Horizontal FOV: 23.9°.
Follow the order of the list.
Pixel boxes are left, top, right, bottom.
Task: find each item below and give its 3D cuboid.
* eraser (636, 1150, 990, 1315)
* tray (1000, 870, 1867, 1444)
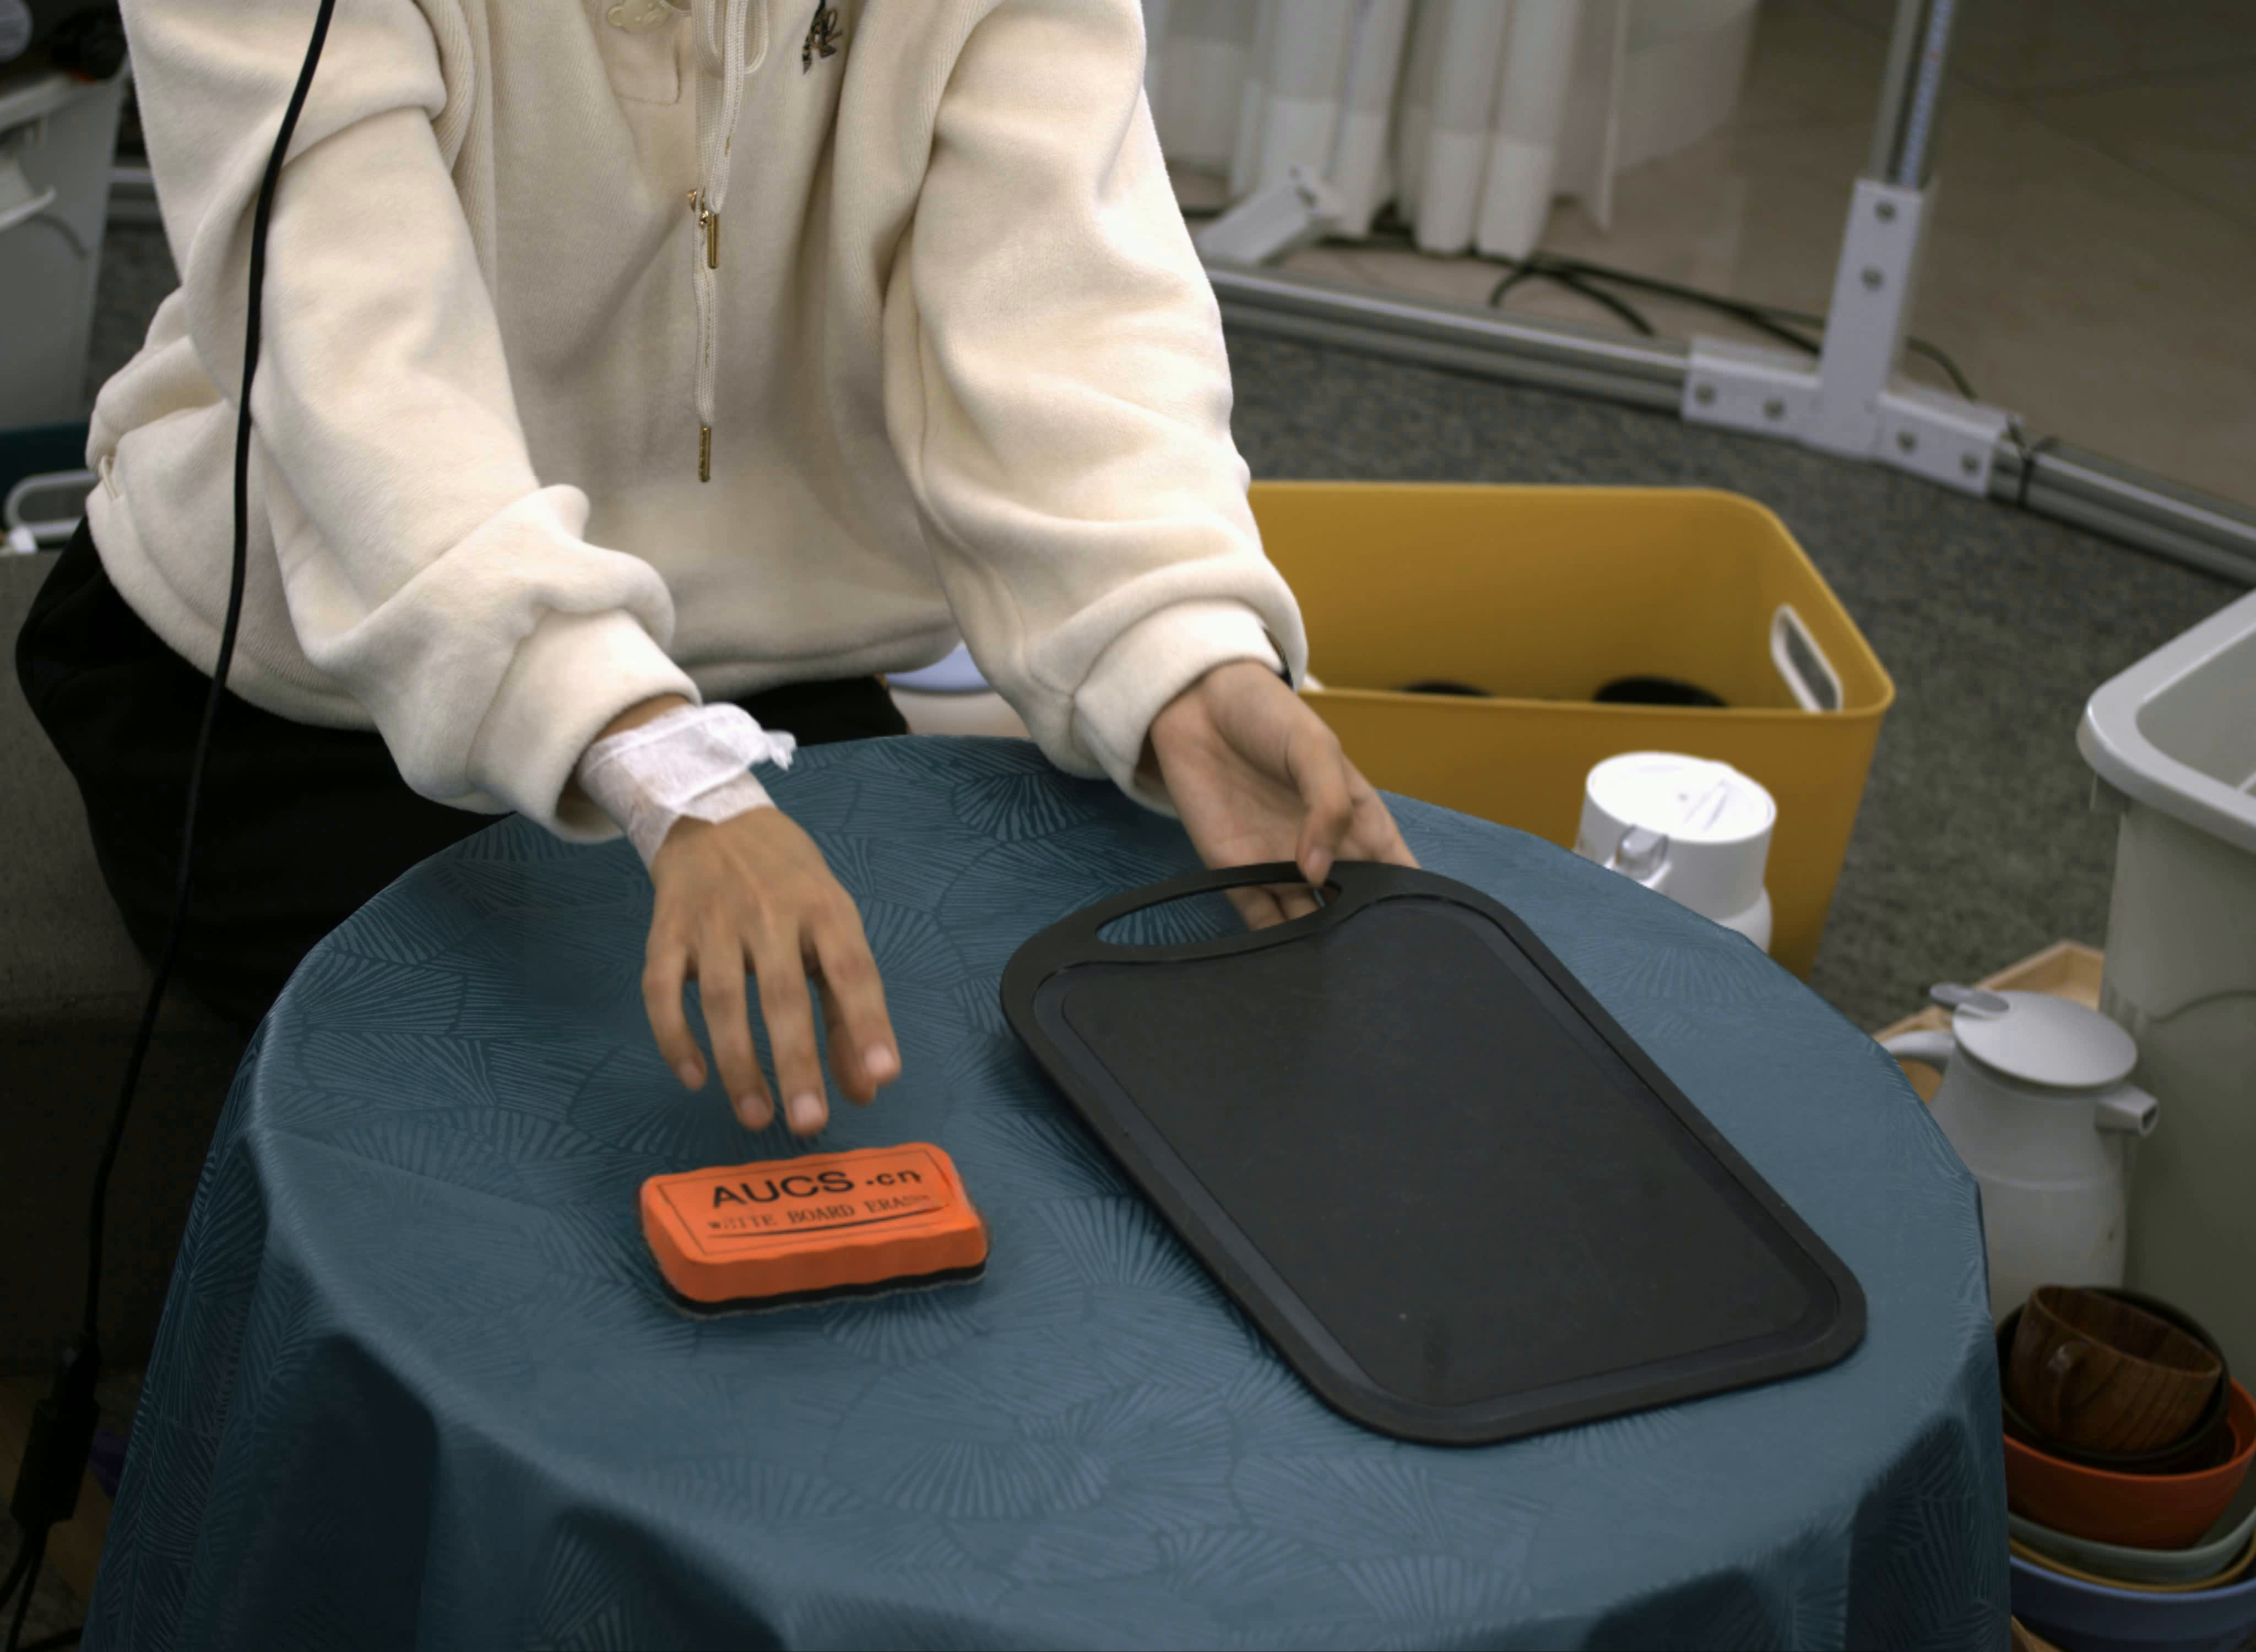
[{"bbox_3d":[-0.103,0.132,1.736,0.107,0.023,0.059,-5,27,-23],"label":"eraser"},{"bbox_3d":[0.096,0.103,1.830,0.210,0.010,0.328,-10,35,-26],"label":"tray"}]
